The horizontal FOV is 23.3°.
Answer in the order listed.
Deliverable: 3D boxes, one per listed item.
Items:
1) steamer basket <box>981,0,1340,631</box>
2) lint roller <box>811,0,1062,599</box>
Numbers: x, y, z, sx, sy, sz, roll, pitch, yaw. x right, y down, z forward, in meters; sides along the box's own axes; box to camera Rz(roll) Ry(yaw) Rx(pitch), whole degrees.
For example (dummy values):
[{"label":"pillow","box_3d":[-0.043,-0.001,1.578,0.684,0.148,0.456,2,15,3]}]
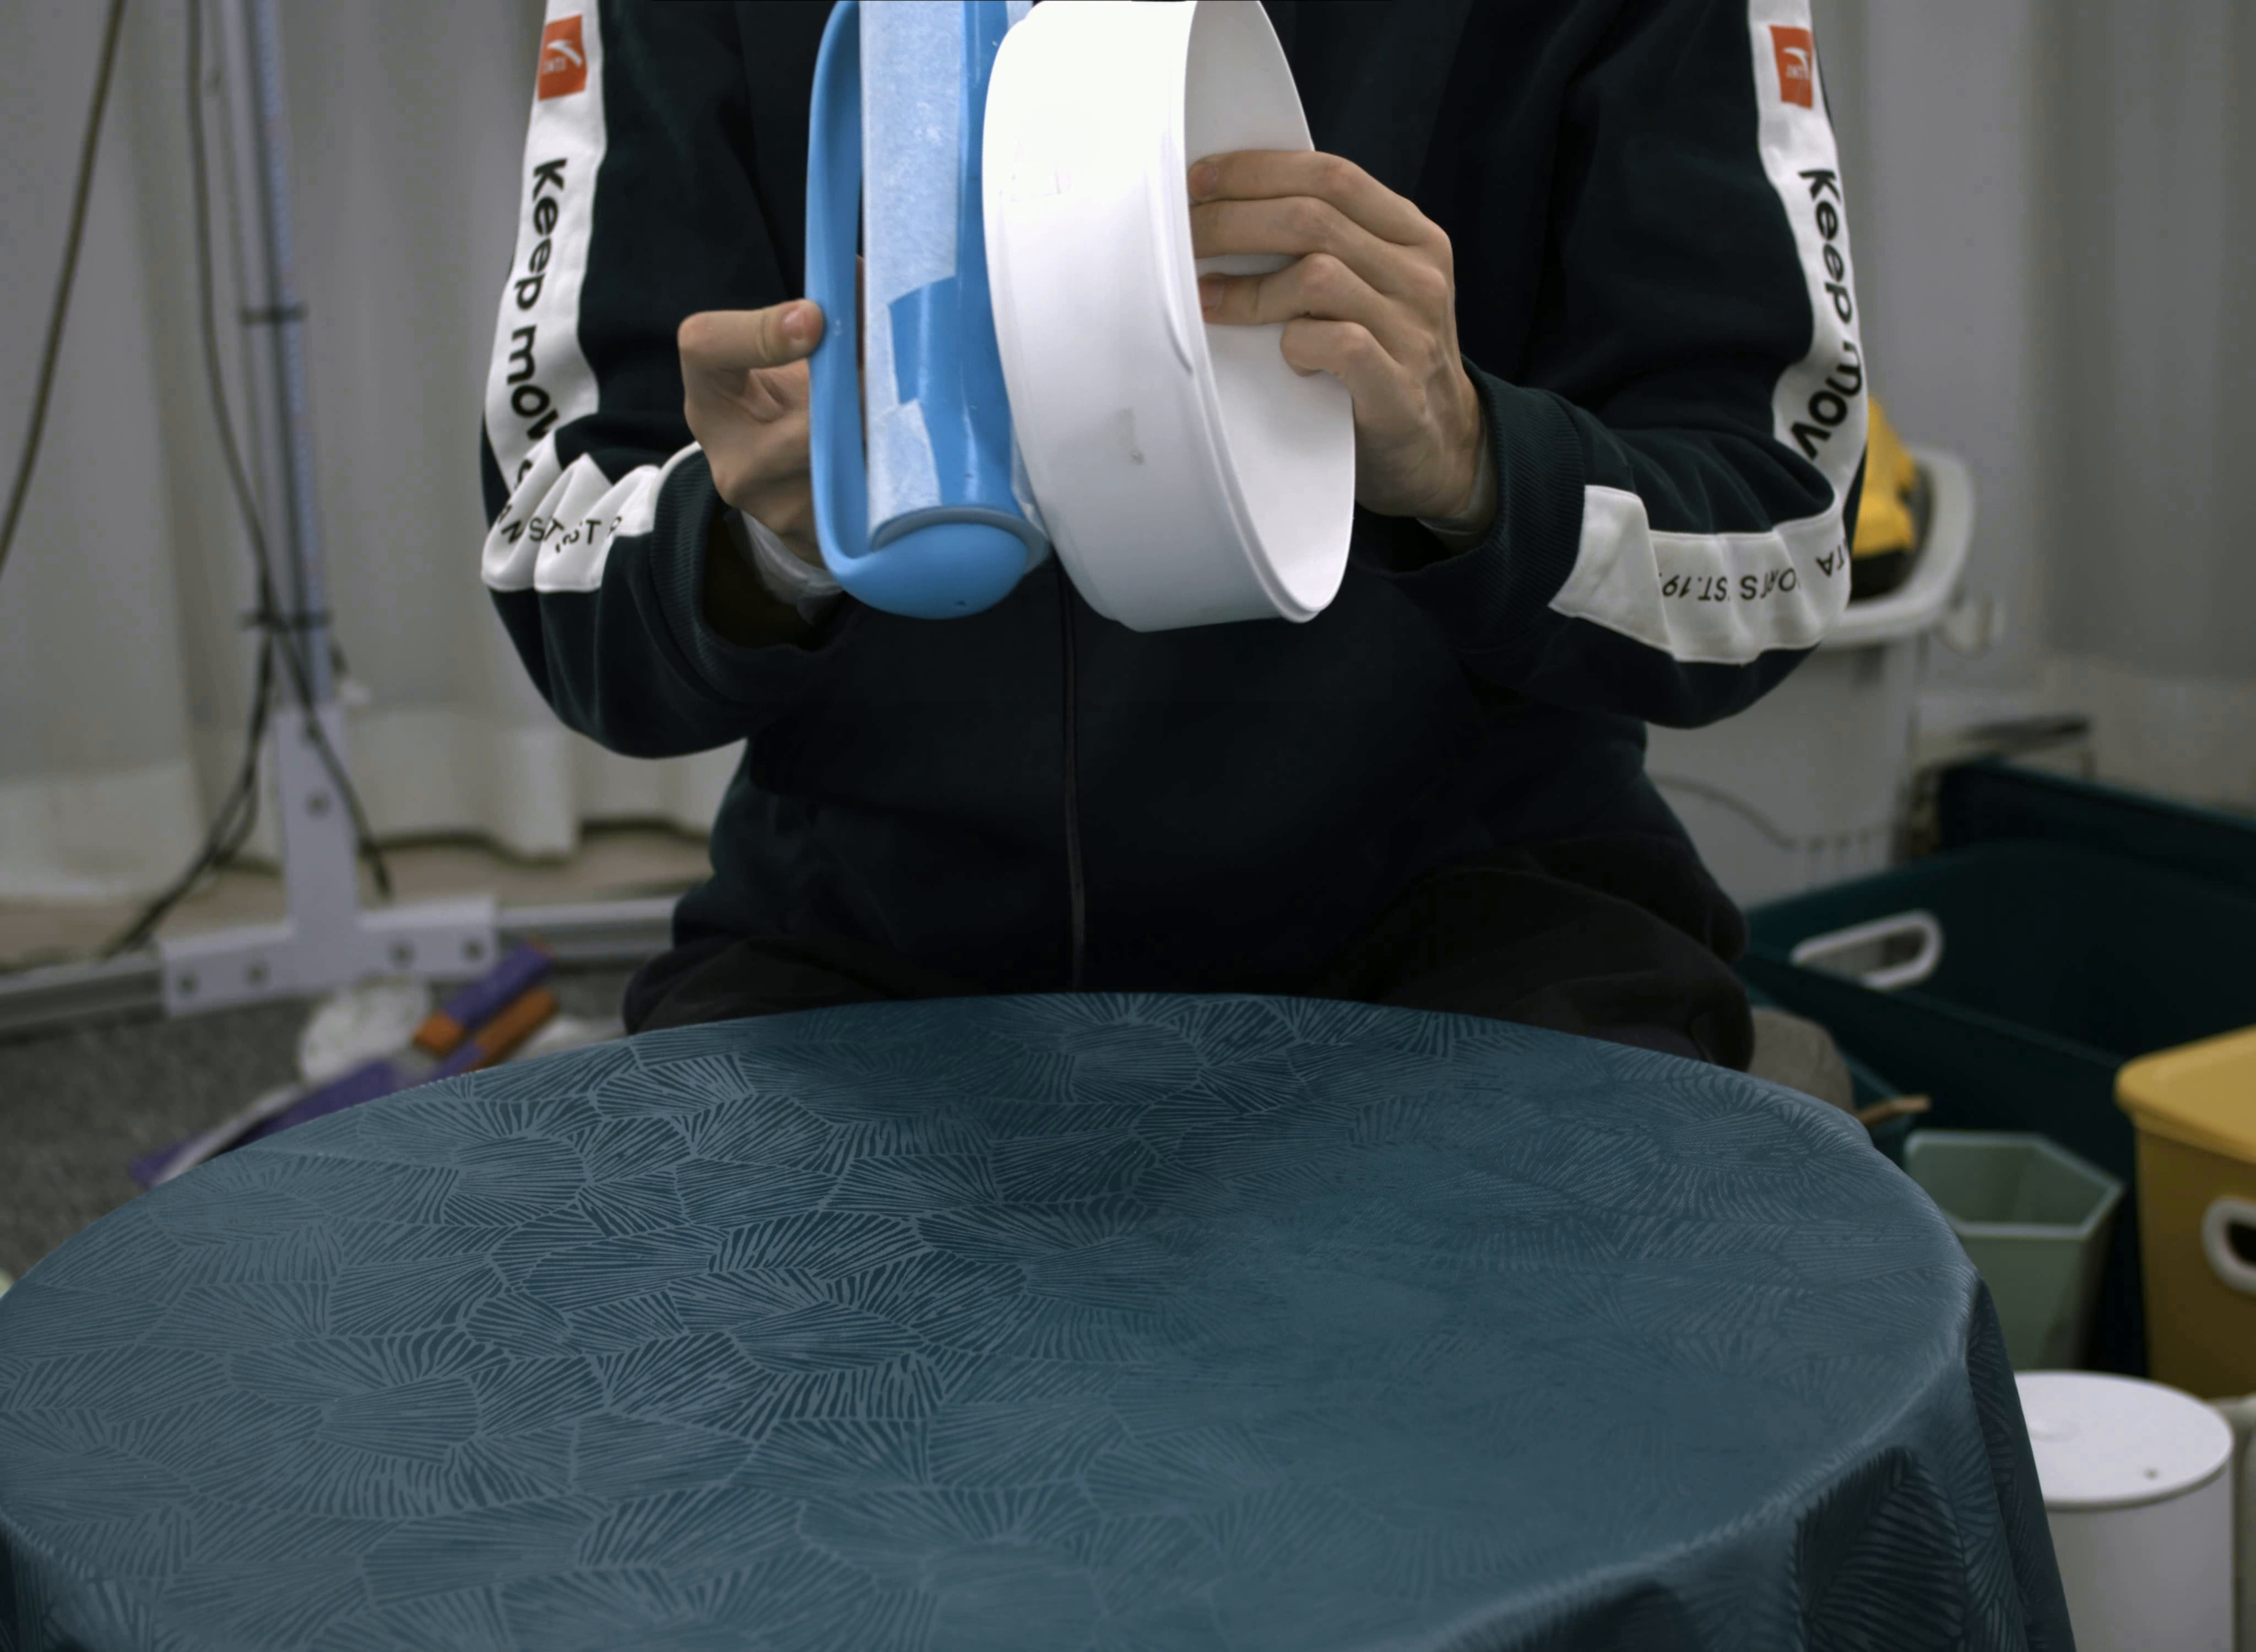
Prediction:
[{"label":"steamer basket","box_3d":[0.010,-0.158,1.655,0.069,0.203,0.229,-7,-5,14]},{"label":"lint roller","box_3d":[-0.068,-0.145,1.695,0.067,0.232,0.178,3,-30,-15]}]
